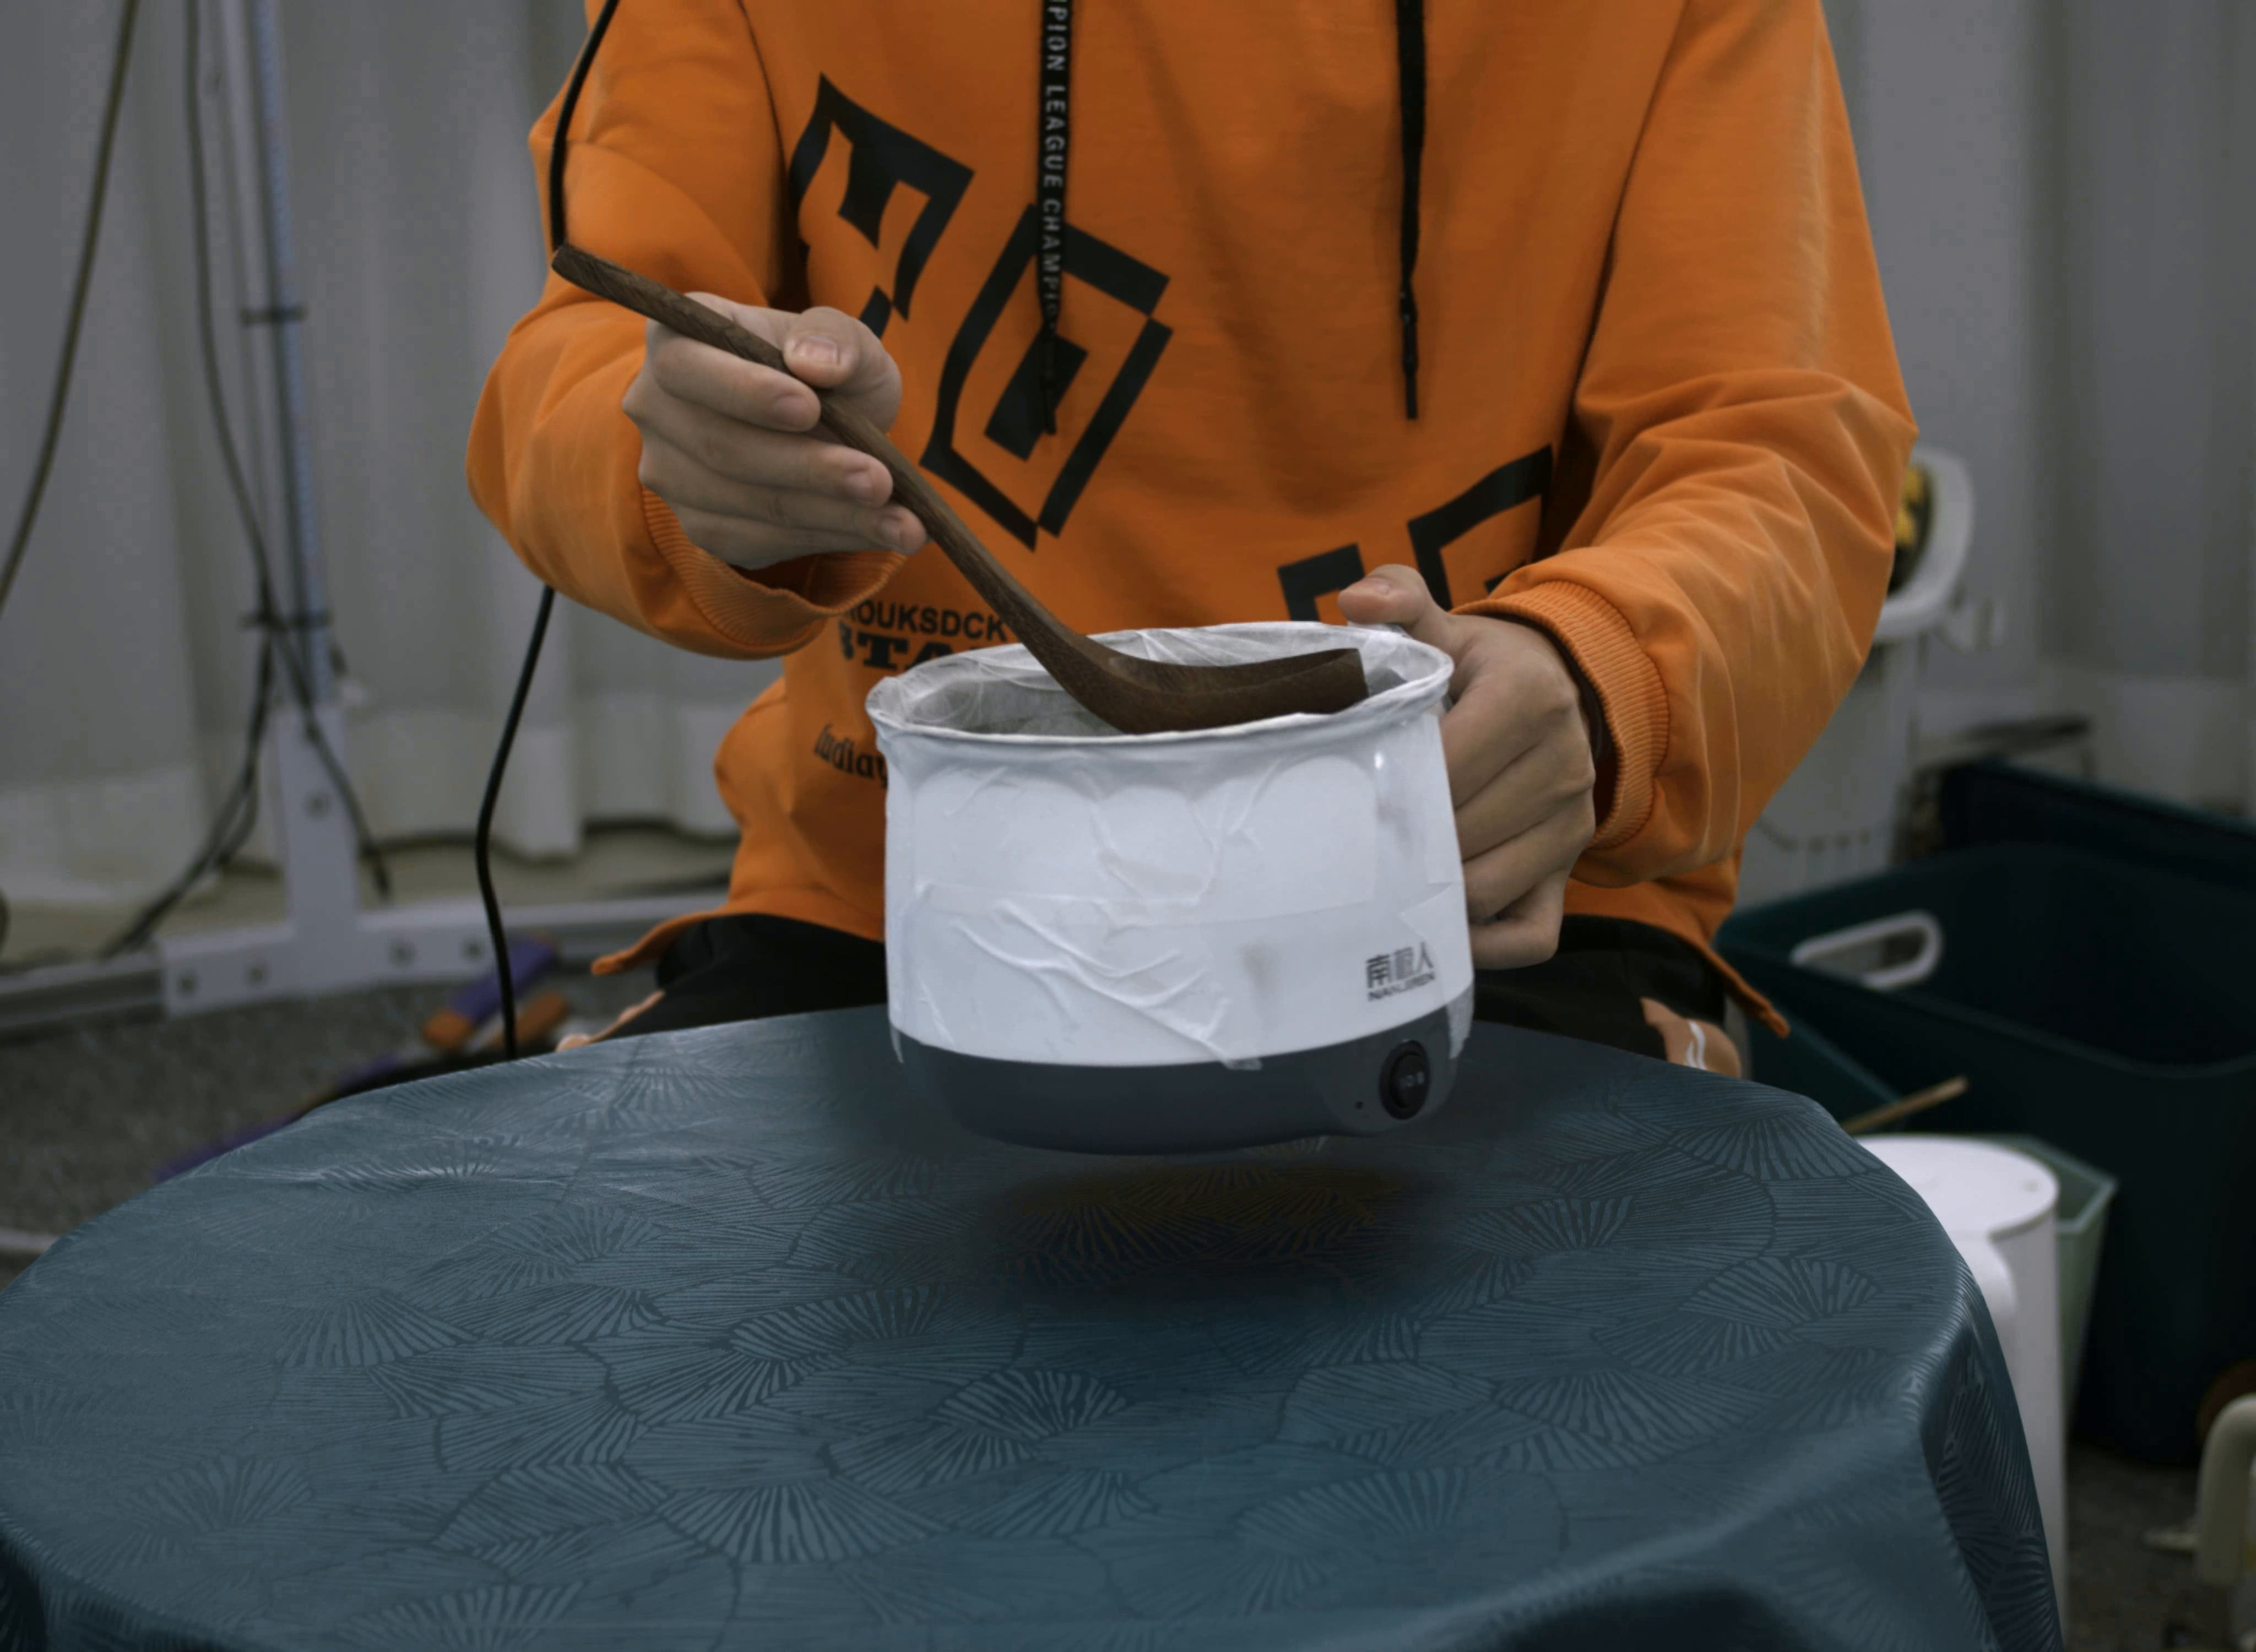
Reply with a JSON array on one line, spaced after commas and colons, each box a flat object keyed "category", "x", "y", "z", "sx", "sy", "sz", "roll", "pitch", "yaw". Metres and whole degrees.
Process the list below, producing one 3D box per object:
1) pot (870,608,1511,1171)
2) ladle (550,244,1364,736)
[{"category": "pot", "x": 0.033, "y": 0.013, "z": 1.664, "sx": 0.179, "sy": 0.136, "sz": 0.233, "roll": 6, "pitch": 15, "yaw": 40}, {"category": "ladle", "x": -0.049, "y": -0.112, "z": 1.655, "sx": 0.274, "sy": 0.071, "sz": 0.076, "roll": 41, "pitch": 7, "yaw": 2}]
